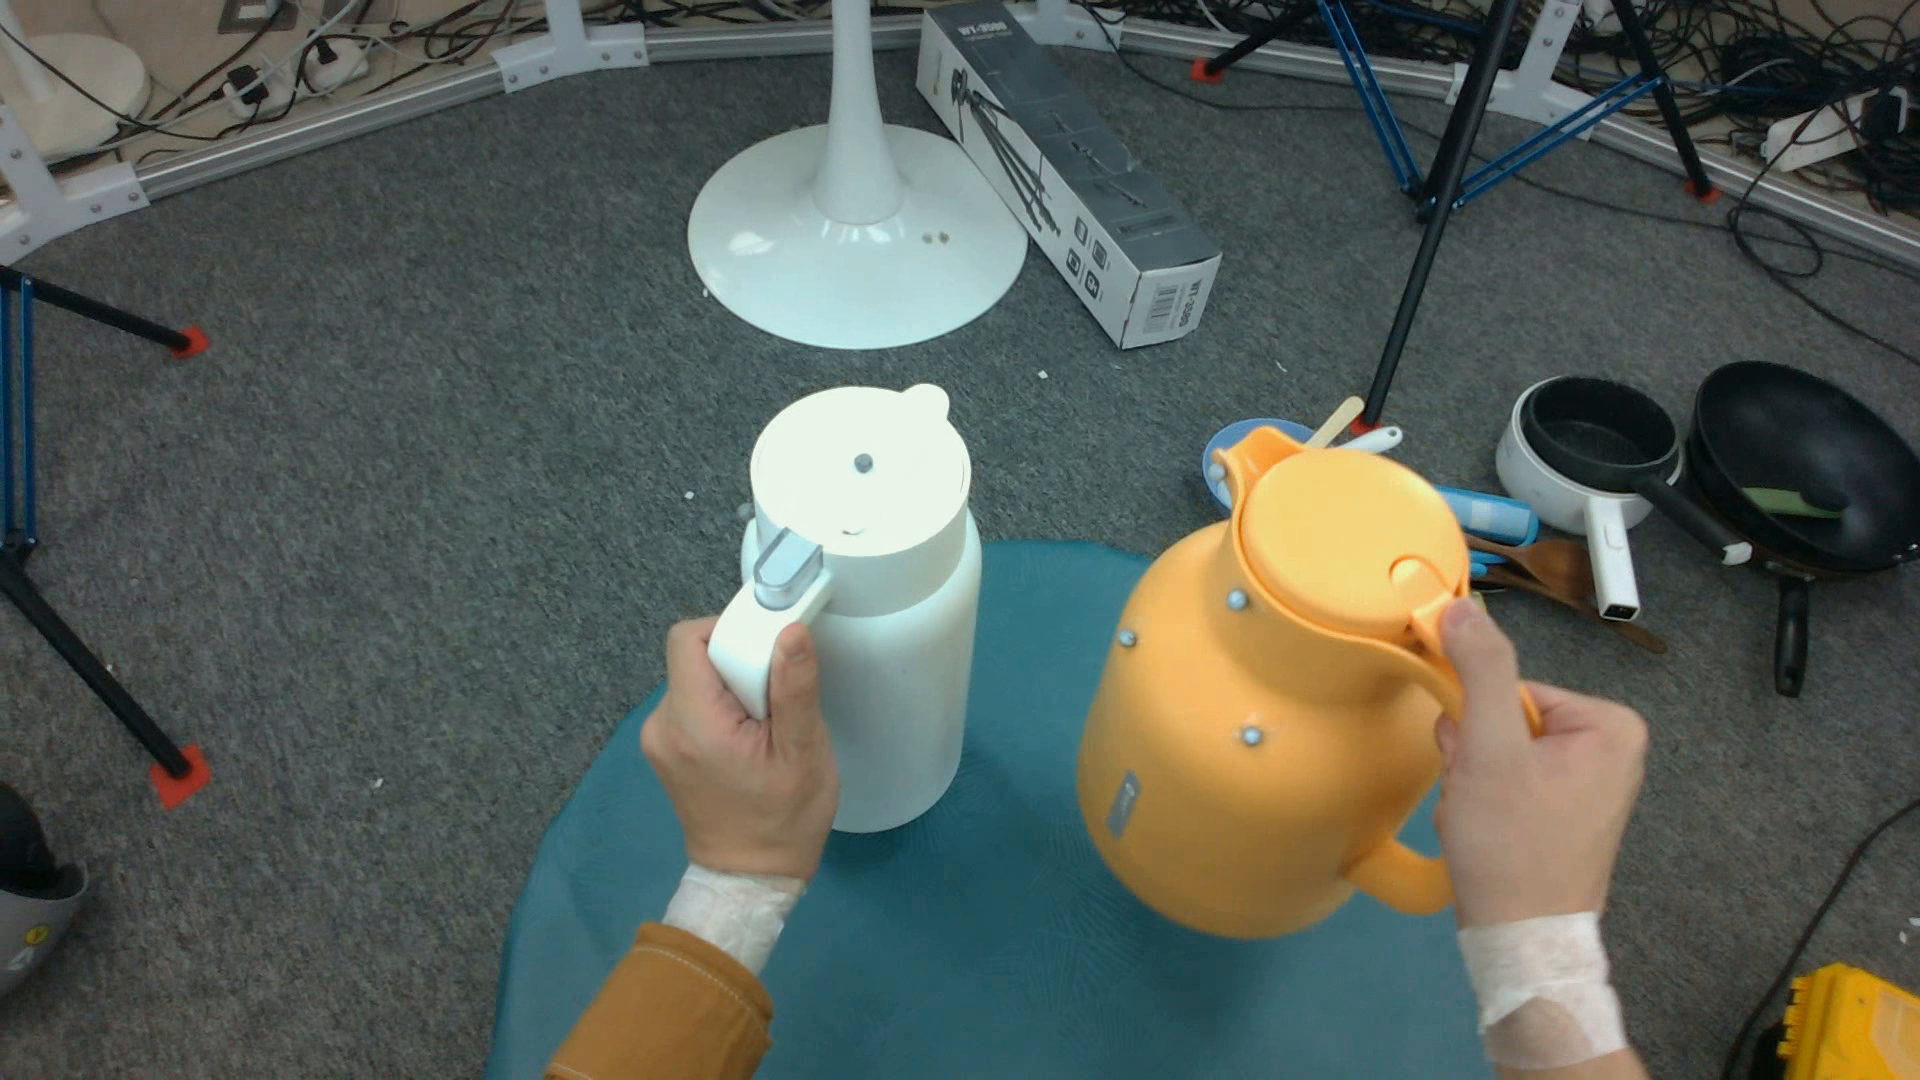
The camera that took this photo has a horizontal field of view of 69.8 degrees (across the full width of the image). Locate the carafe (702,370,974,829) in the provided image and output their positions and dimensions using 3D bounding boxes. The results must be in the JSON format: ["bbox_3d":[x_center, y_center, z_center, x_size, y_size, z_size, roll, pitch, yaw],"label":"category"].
[{"bbox_3d":[-0.062,0.056,0.708,0.124,0.267,0.173,26,56,12],"label":"carafe"}]

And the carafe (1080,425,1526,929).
[{"bbox_3d":[0.158,0.083,0.650,0.164,0.259,0.203,-24,57,-19],"label":"carafe"}]
